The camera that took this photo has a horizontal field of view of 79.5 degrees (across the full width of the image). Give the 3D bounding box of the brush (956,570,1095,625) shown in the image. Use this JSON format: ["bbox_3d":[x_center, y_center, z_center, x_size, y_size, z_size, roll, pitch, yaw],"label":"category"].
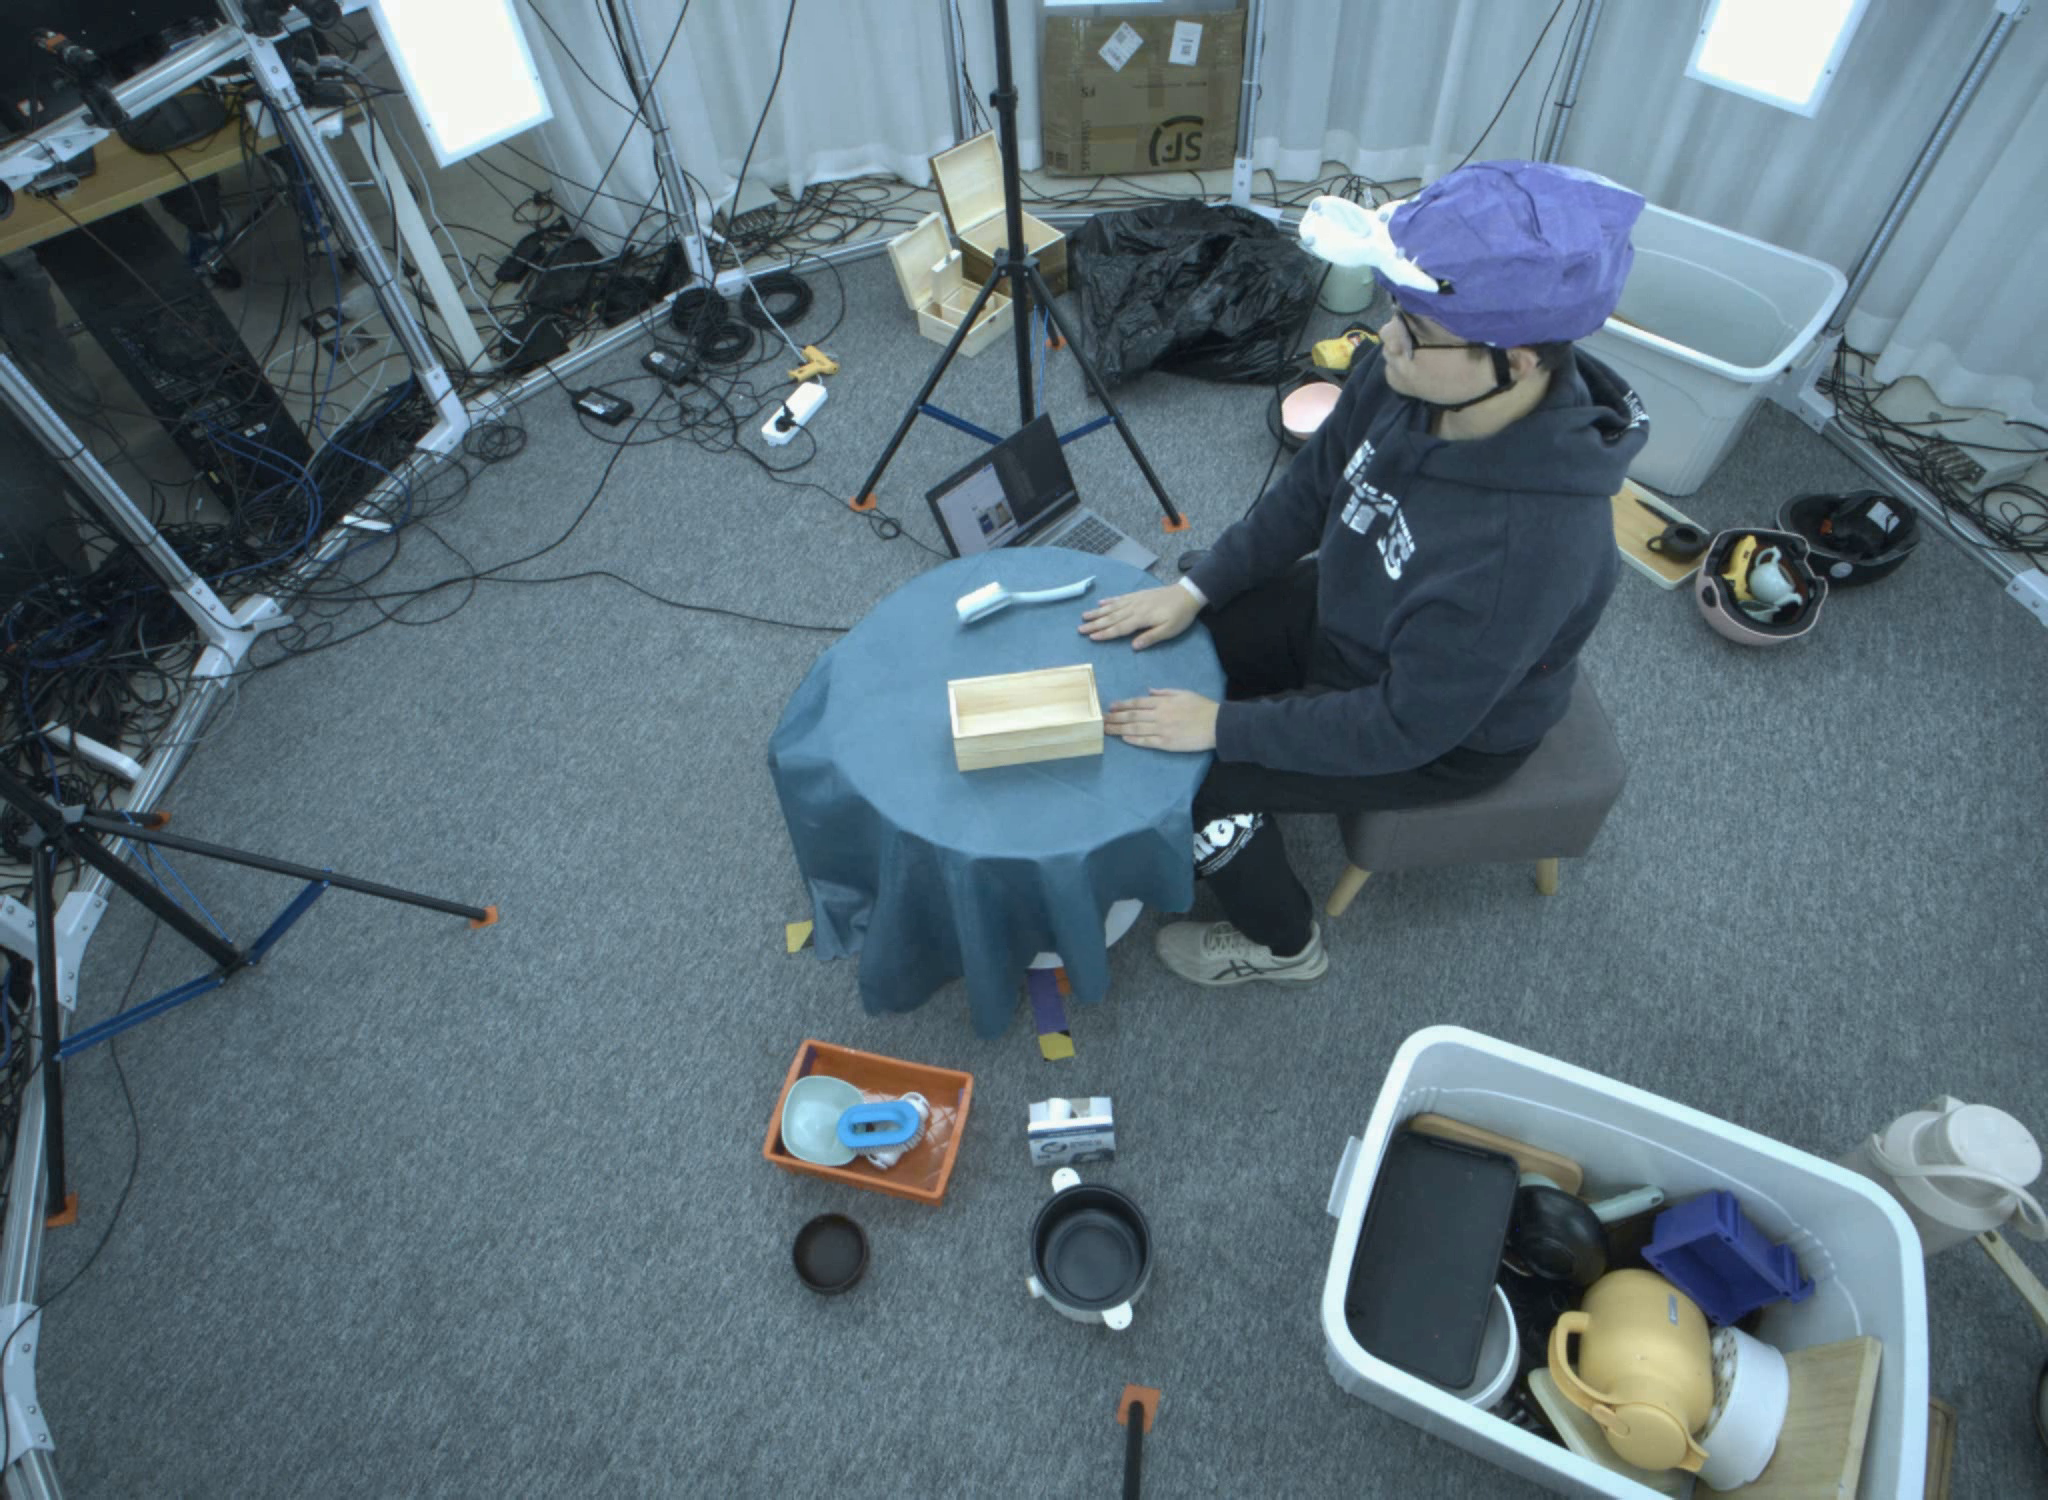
[{"bbox_3d":[0.003,-0.251,1.941,0.230,0.038,0.049,-17,63,-10],"label":"brush"}]

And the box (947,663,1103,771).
[{"bbox_3d":[0.002,-0.047,1.772,0.212,0.081,0.106,-8,55,-3],"label":"box"}]
